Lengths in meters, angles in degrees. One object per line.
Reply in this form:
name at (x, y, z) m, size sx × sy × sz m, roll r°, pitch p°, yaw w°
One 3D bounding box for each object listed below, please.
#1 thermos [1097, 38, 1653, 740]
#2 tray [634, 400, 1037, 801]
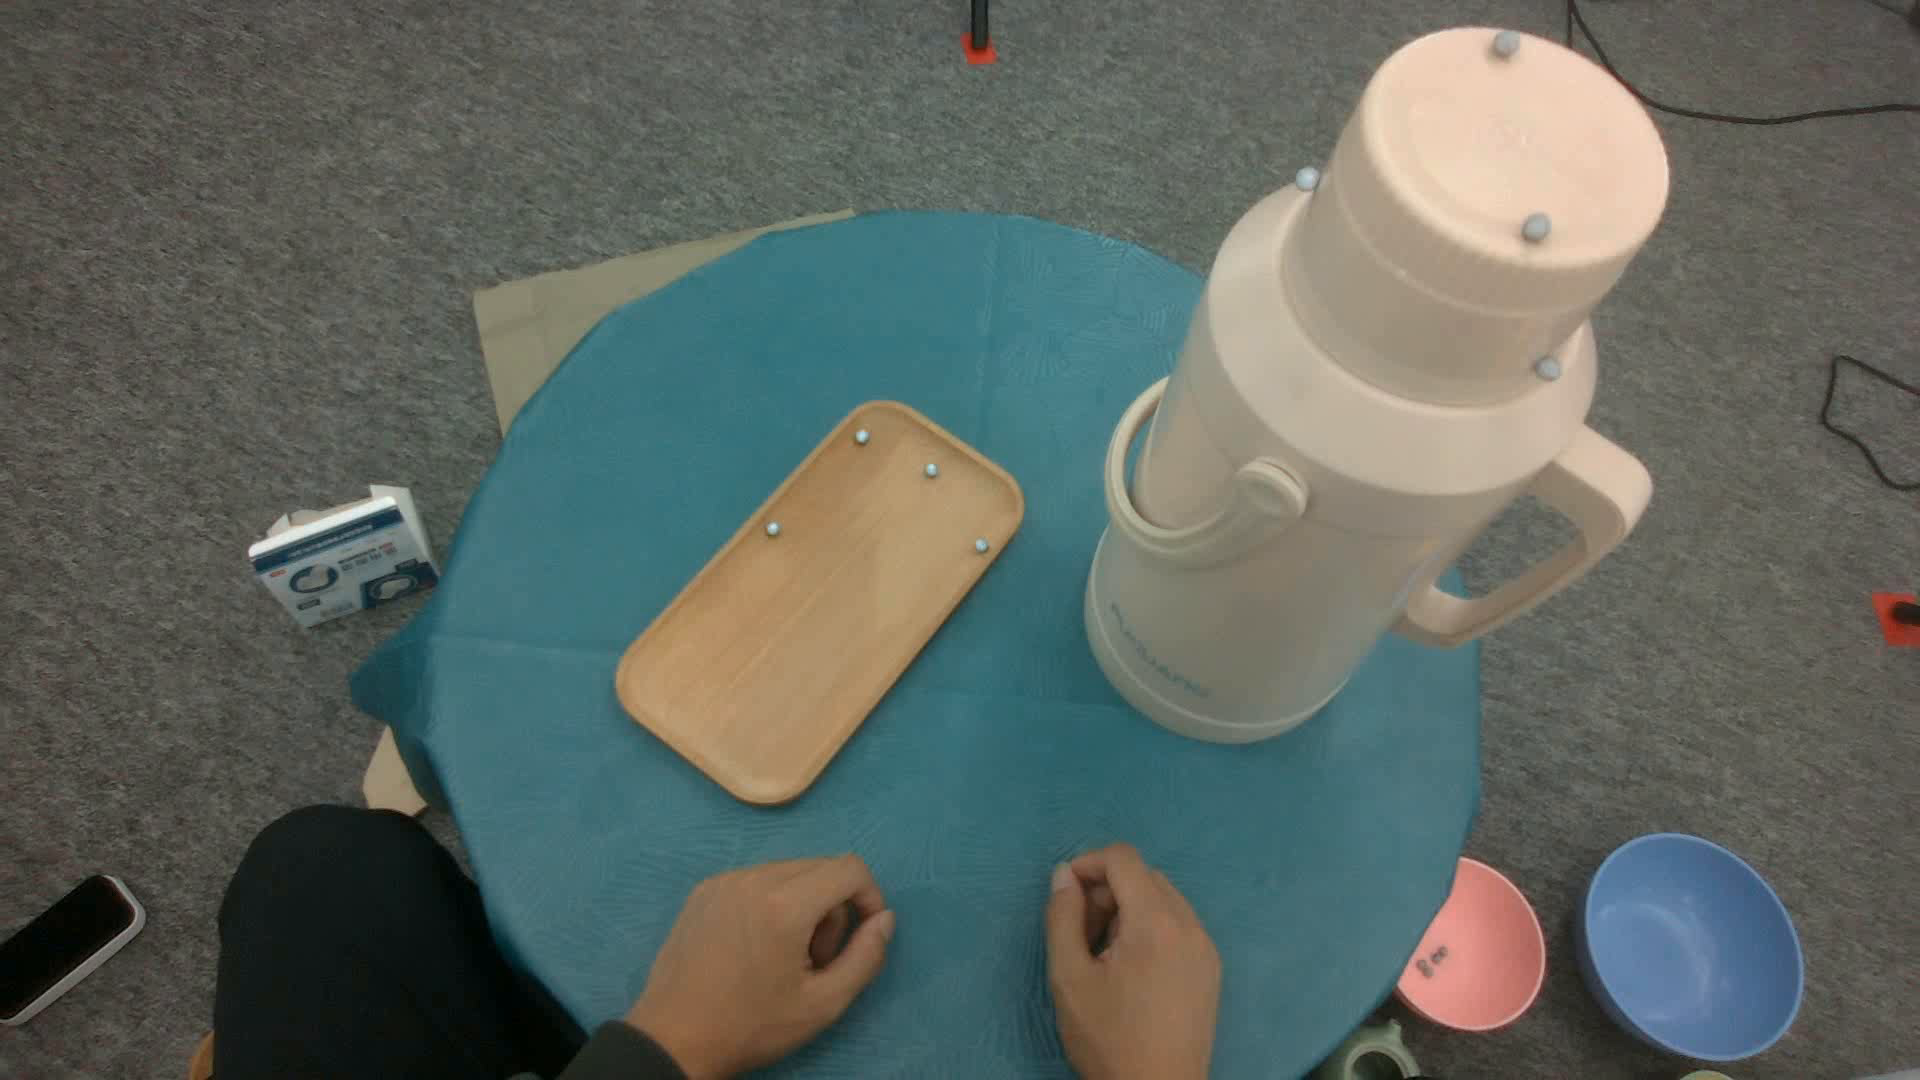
thermos at (0.182, -0.035, 0.642) m, size 0.207 × 0.404 × 0.176 m, roll 36°, pitch 65°, yaw 13°
tray at (-0.067, 0.029, 0.802) m, size 0.130 × 0.023 × 0.251 m, roll 34°, pitch 66°, yaw 15°
